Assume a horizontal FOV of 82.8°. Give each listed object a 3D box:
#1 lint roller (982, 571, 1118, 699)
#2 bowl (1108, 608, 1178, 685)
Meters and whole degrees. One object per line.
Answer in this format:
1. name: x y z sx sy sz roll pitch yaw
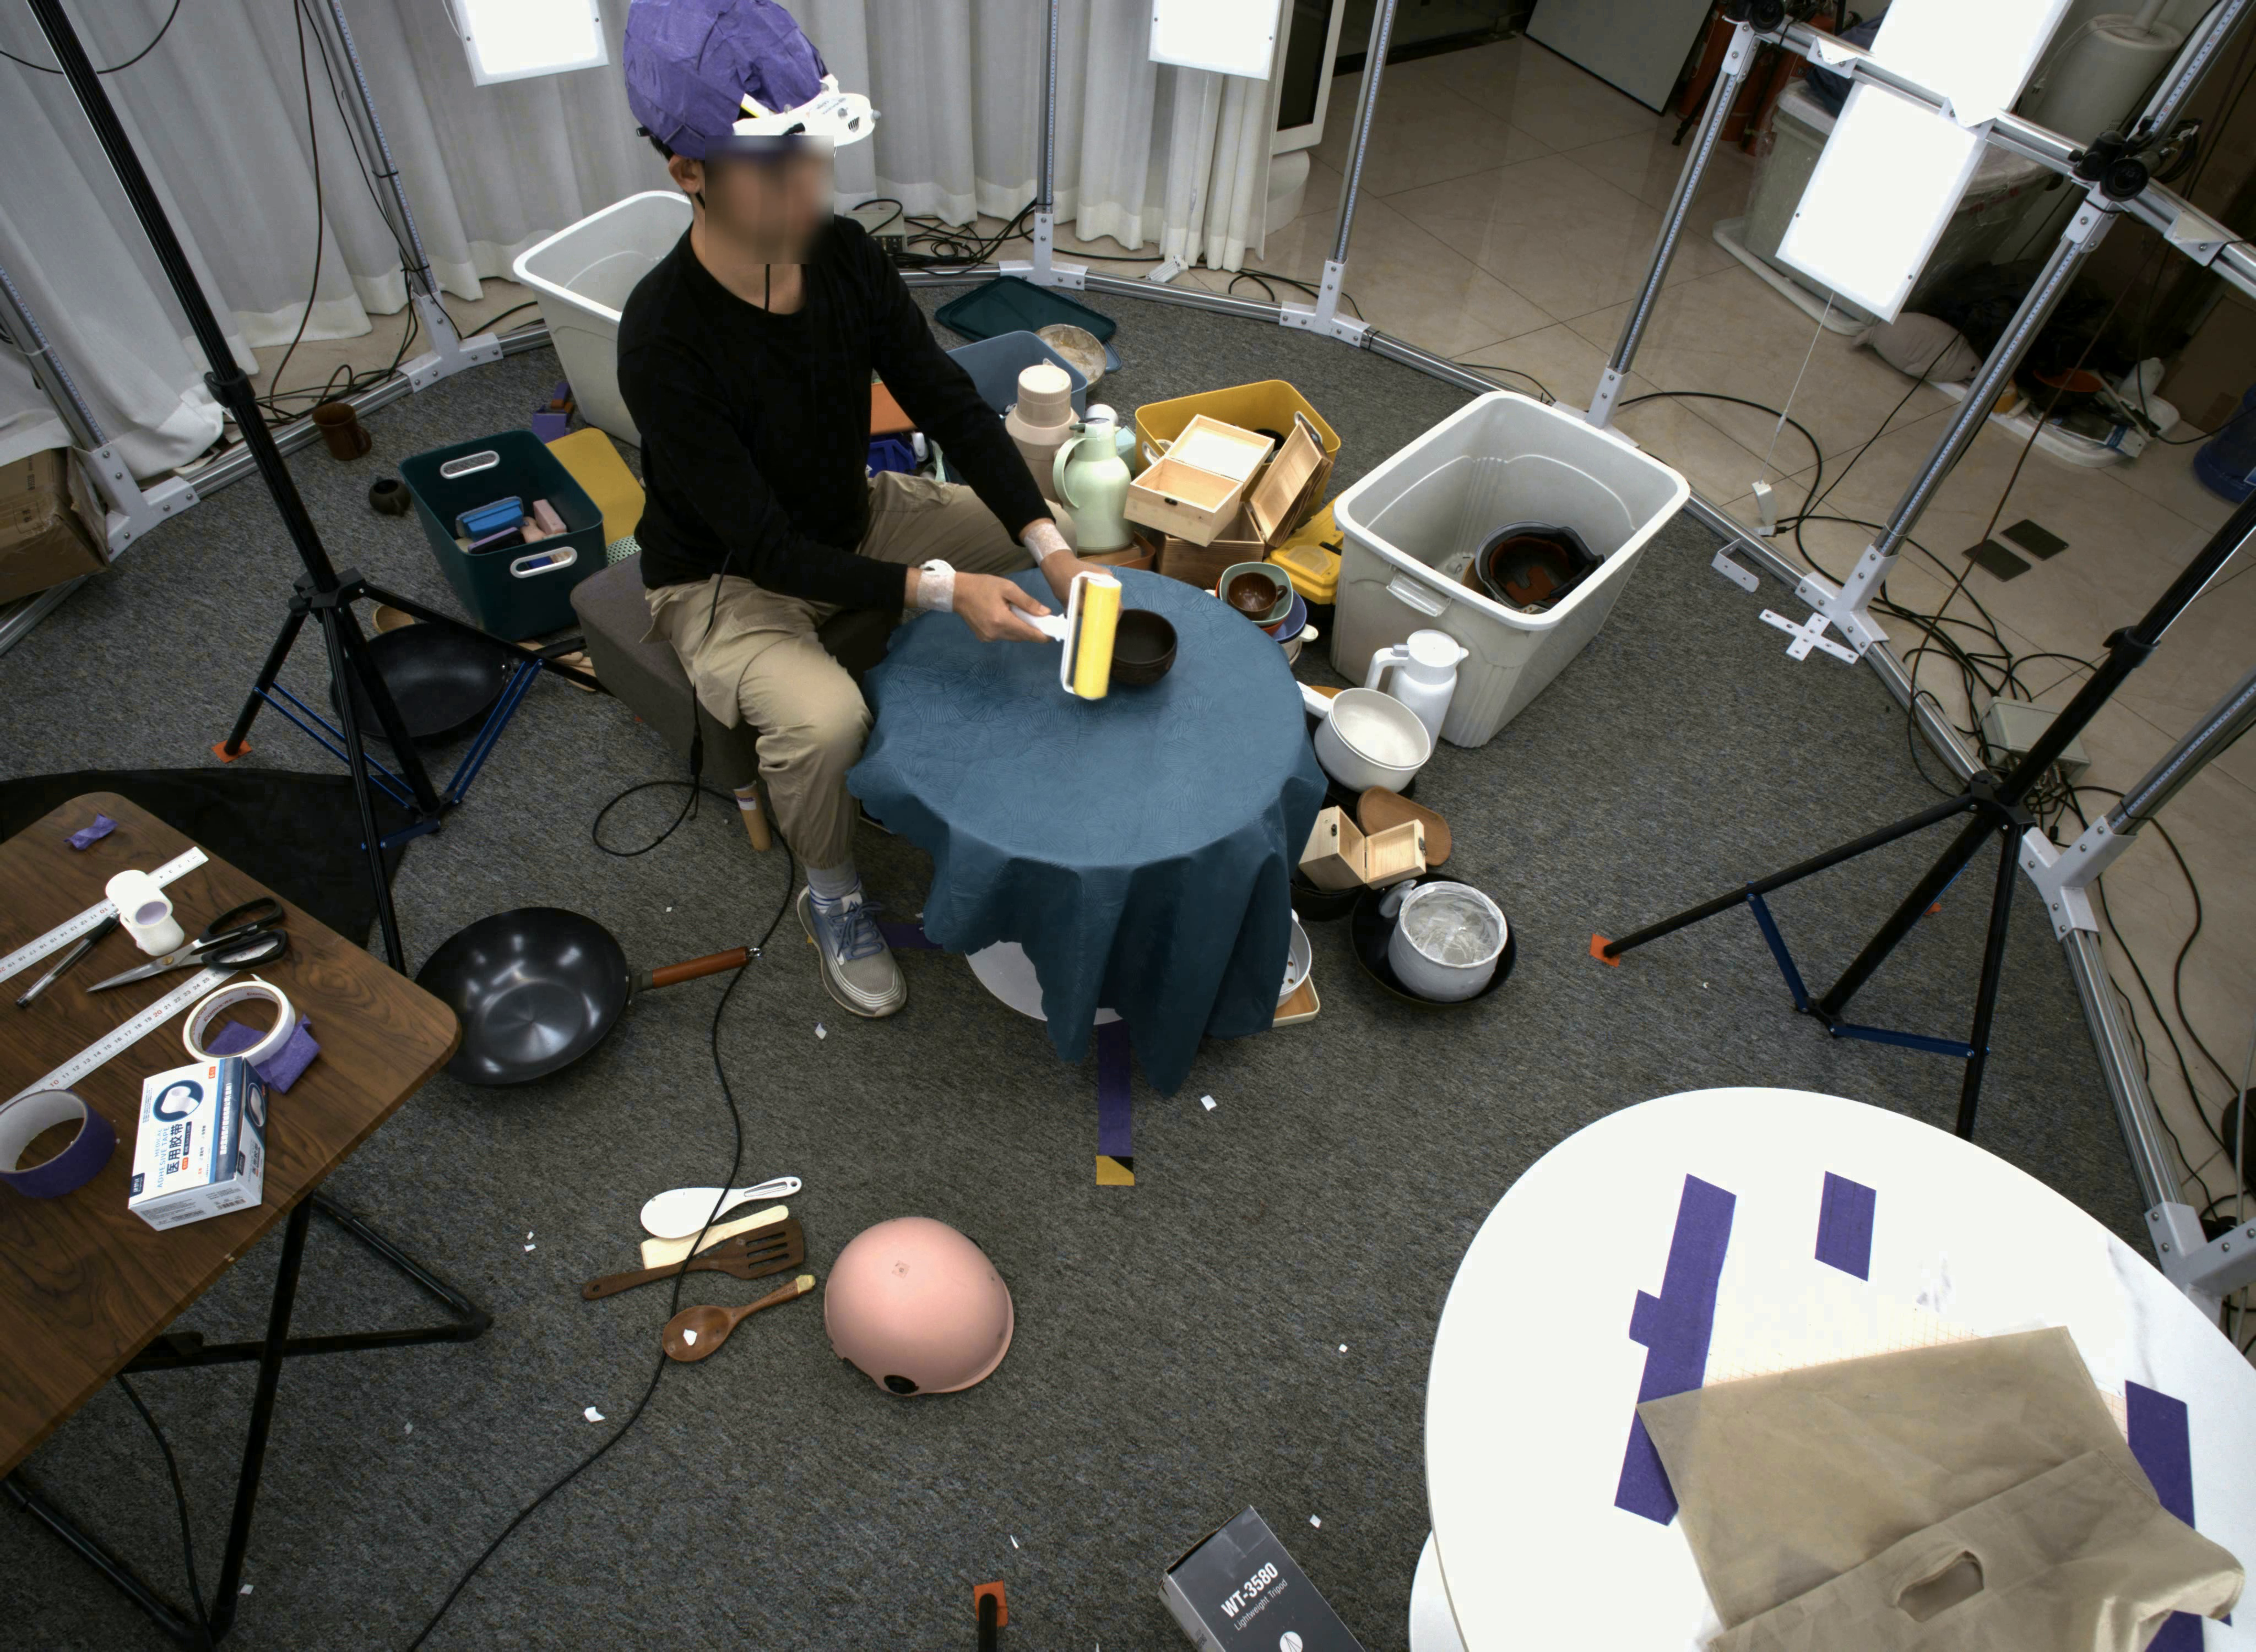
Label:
1. lint roller: -0.114 -0.274 1.782 0.192 0.171 0.052 10 24 8
2. bowl: 0.010 -0.249 1.838 0.118 0.068 0.121 3 48 -3
